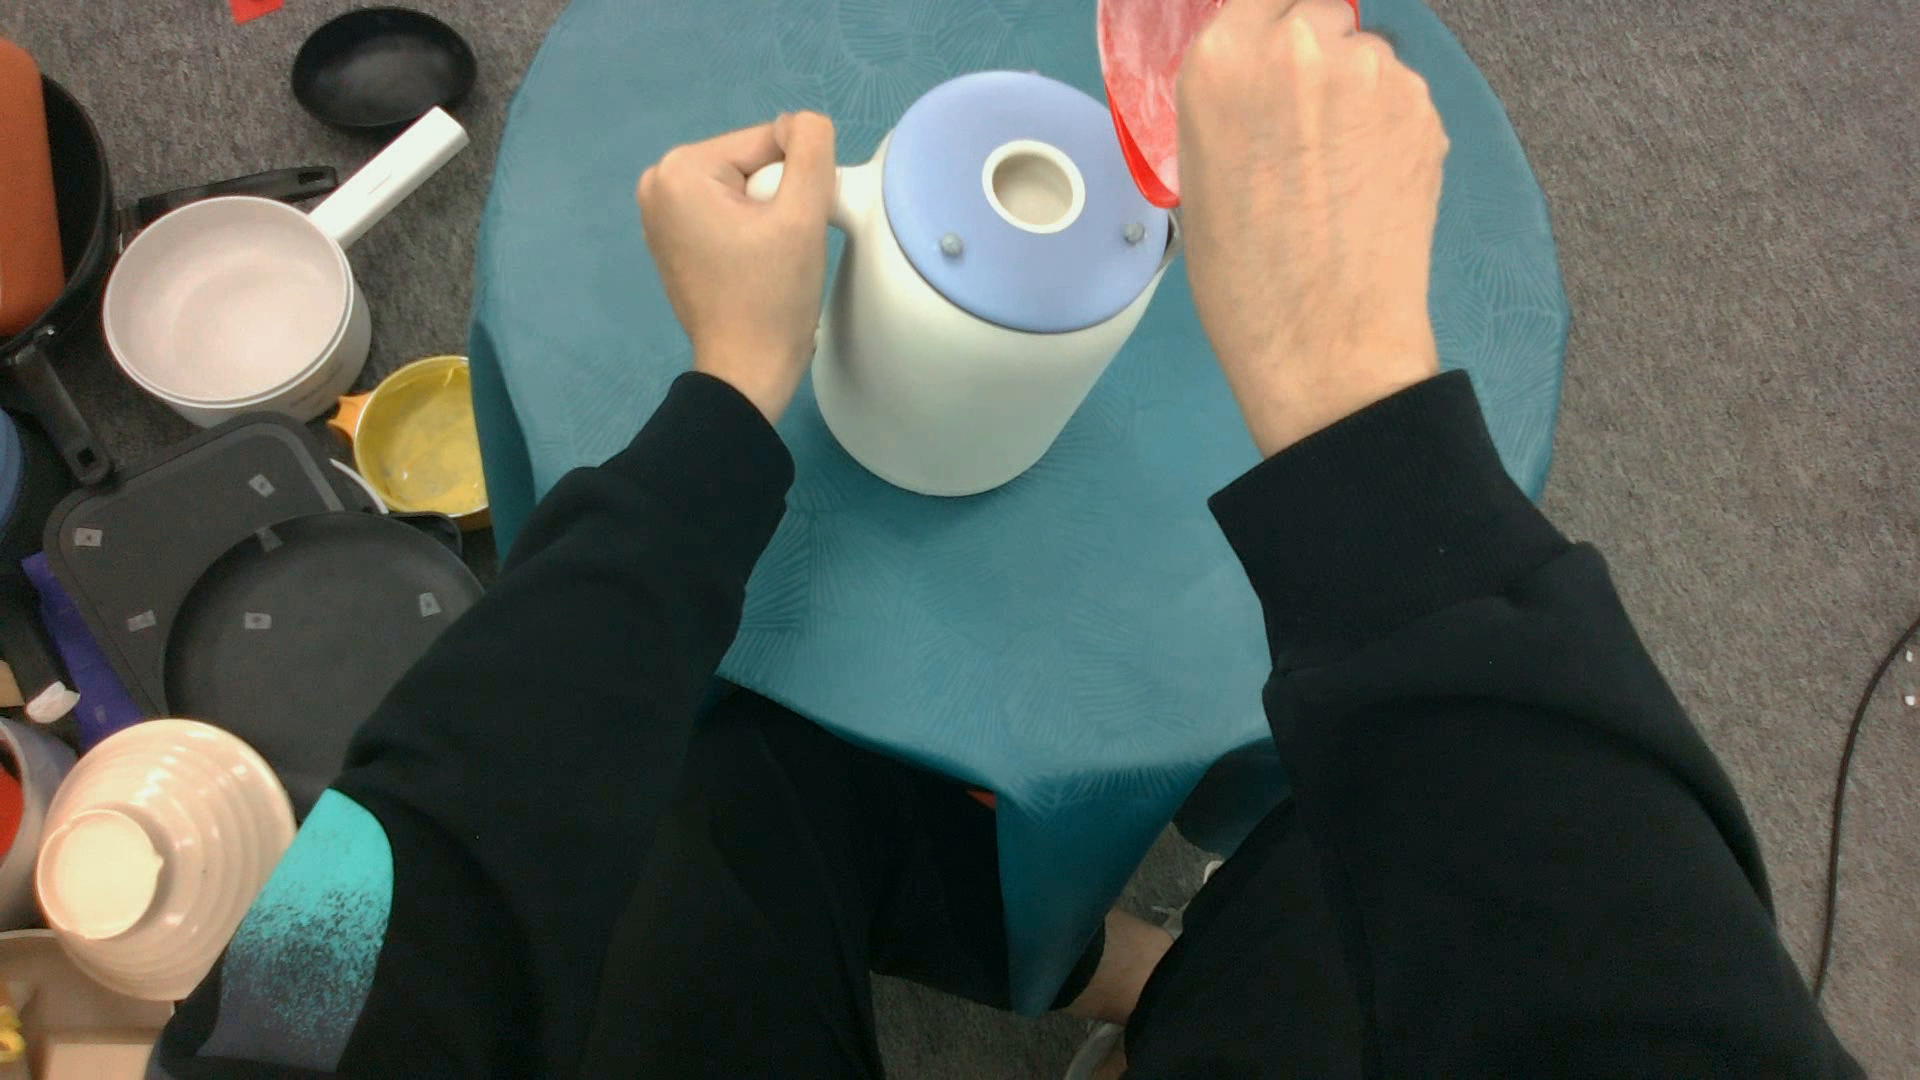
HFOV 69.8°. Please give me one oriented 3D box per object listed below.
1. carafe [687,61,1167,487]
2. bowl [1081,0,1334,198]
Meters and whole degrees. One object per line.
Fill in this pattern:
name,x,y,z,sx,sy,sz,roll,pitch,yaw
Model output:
carafe,-0.025,-0.116,0.617,0.191,0.182,0.132,6,68,-11
bowl,0.087,-0.179,0.474,0.051,0.118,0.119,-6,72,-17
